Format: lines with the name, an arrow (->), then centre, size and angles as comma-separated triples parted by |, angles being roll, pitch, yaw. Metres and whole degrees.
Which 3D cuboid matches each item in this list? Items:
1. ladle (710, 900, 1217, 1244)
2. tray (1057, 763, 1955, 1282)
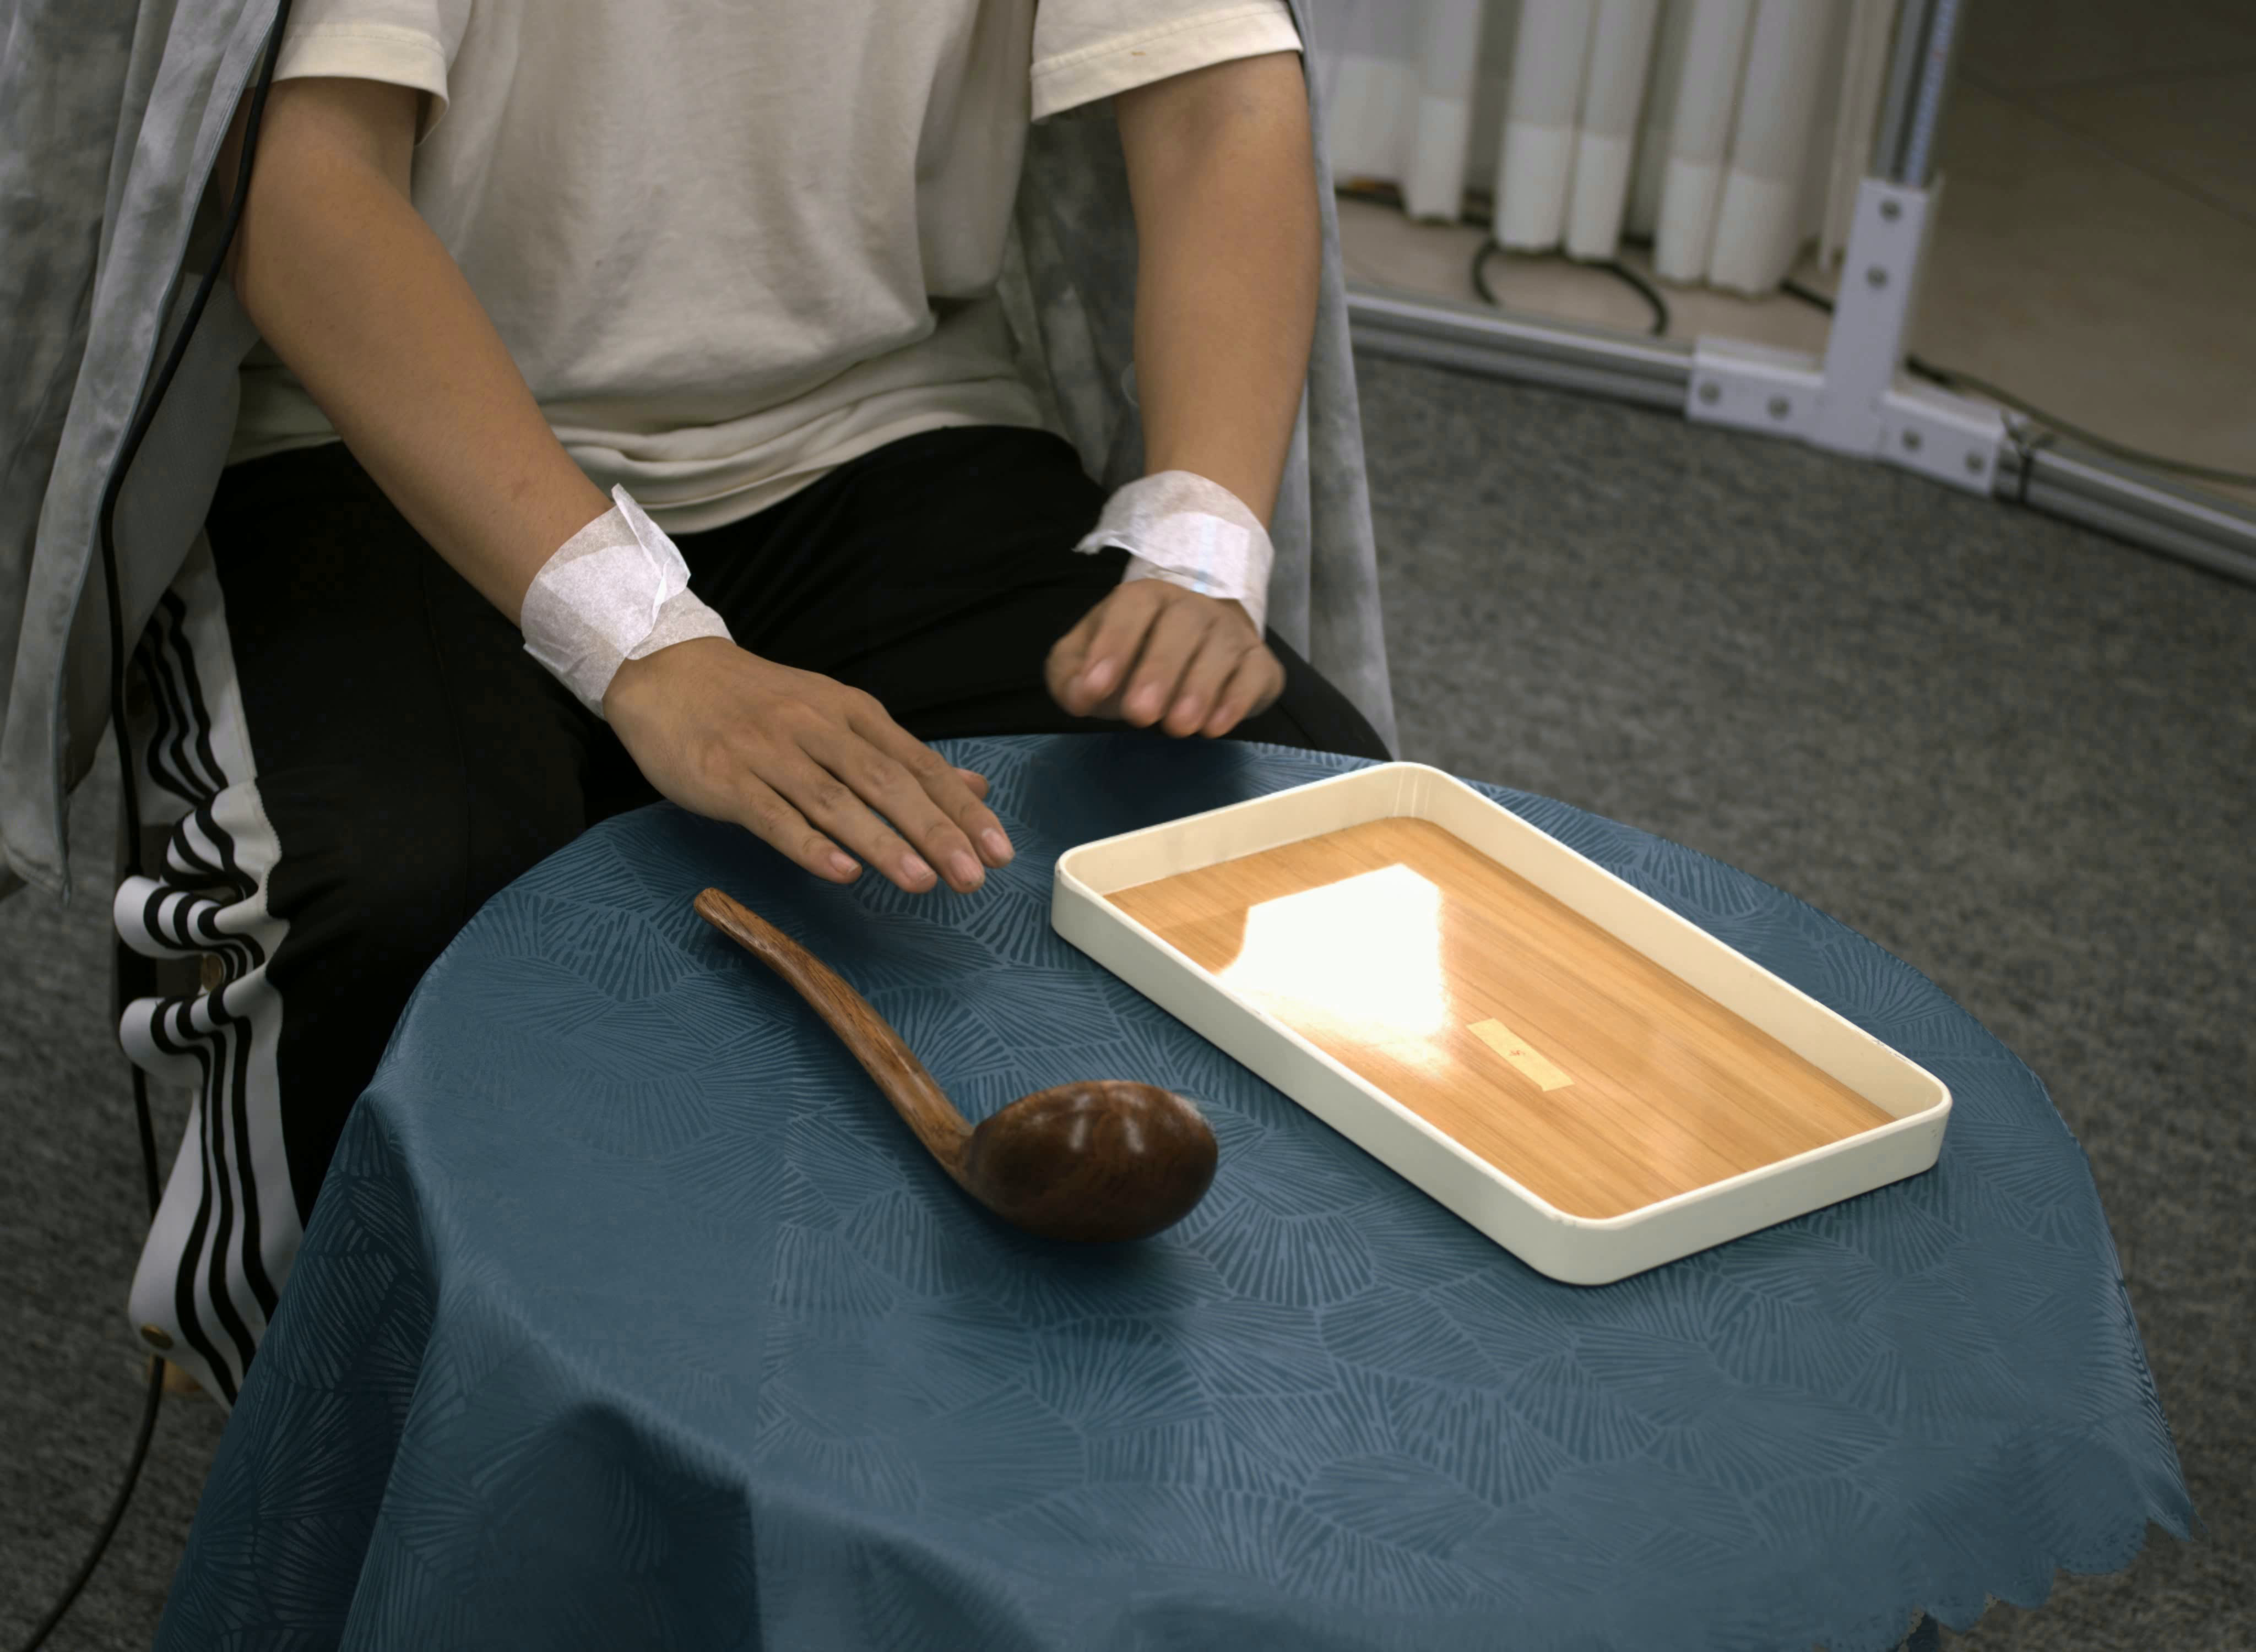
ladle -> -0.062, 0.065, 1.830 | 0.081, 0.076, 0.276 | 39, 2, -39
tray -> 0.132, 0.065, 1.920 | 0.190, 0.027, 0.303 | -15, 34, -36
